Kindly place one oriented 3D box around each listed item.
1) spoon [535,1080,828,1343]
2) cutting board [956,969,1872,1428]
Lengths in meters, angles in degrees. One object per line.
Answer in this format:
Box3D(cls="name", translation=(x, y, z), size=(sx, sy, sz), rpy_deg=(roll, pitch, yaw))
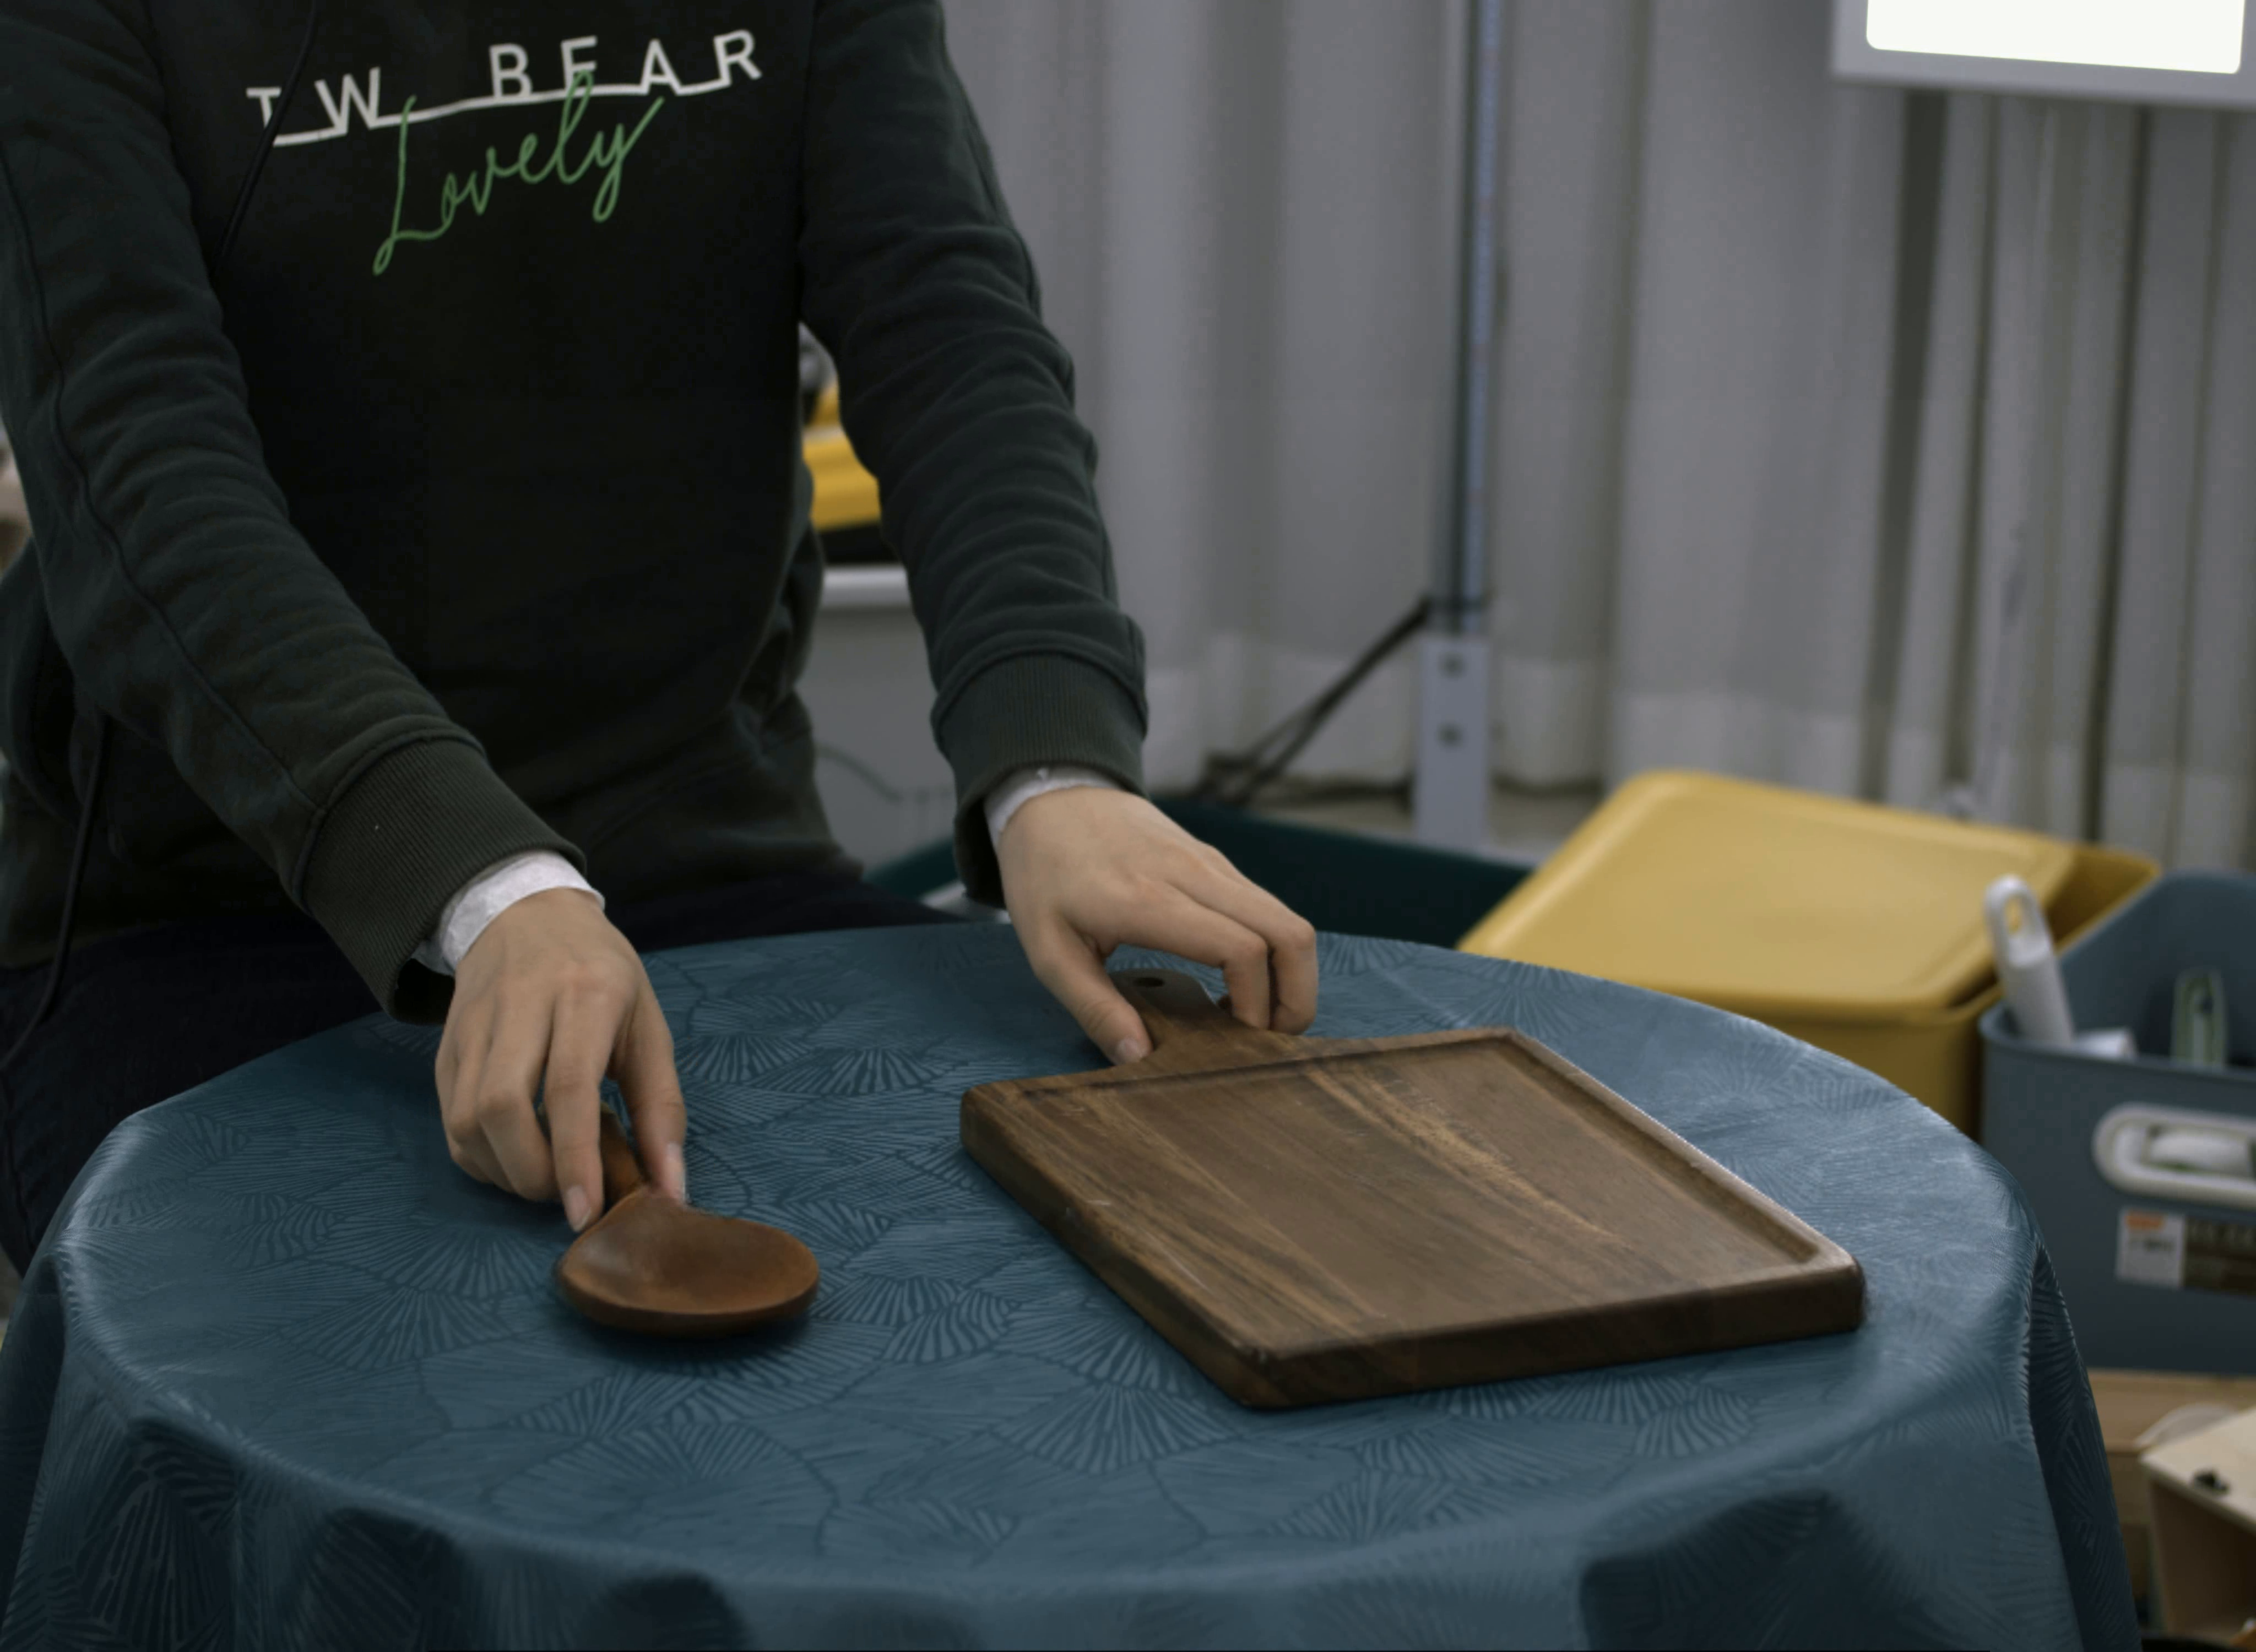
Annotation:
Box3D(cls="spoon", translation=(-0.144, 0.116, 1.576), size=(0.075, 0.017, 0.213), rpy_deg=(-6, 18, -17))
Box3D(cls="cutting board", translation=(0.063, 0.103, 1.633), size=(0.201, 0.023, 0.348), rpy_deg=(-7, 17, -20))
